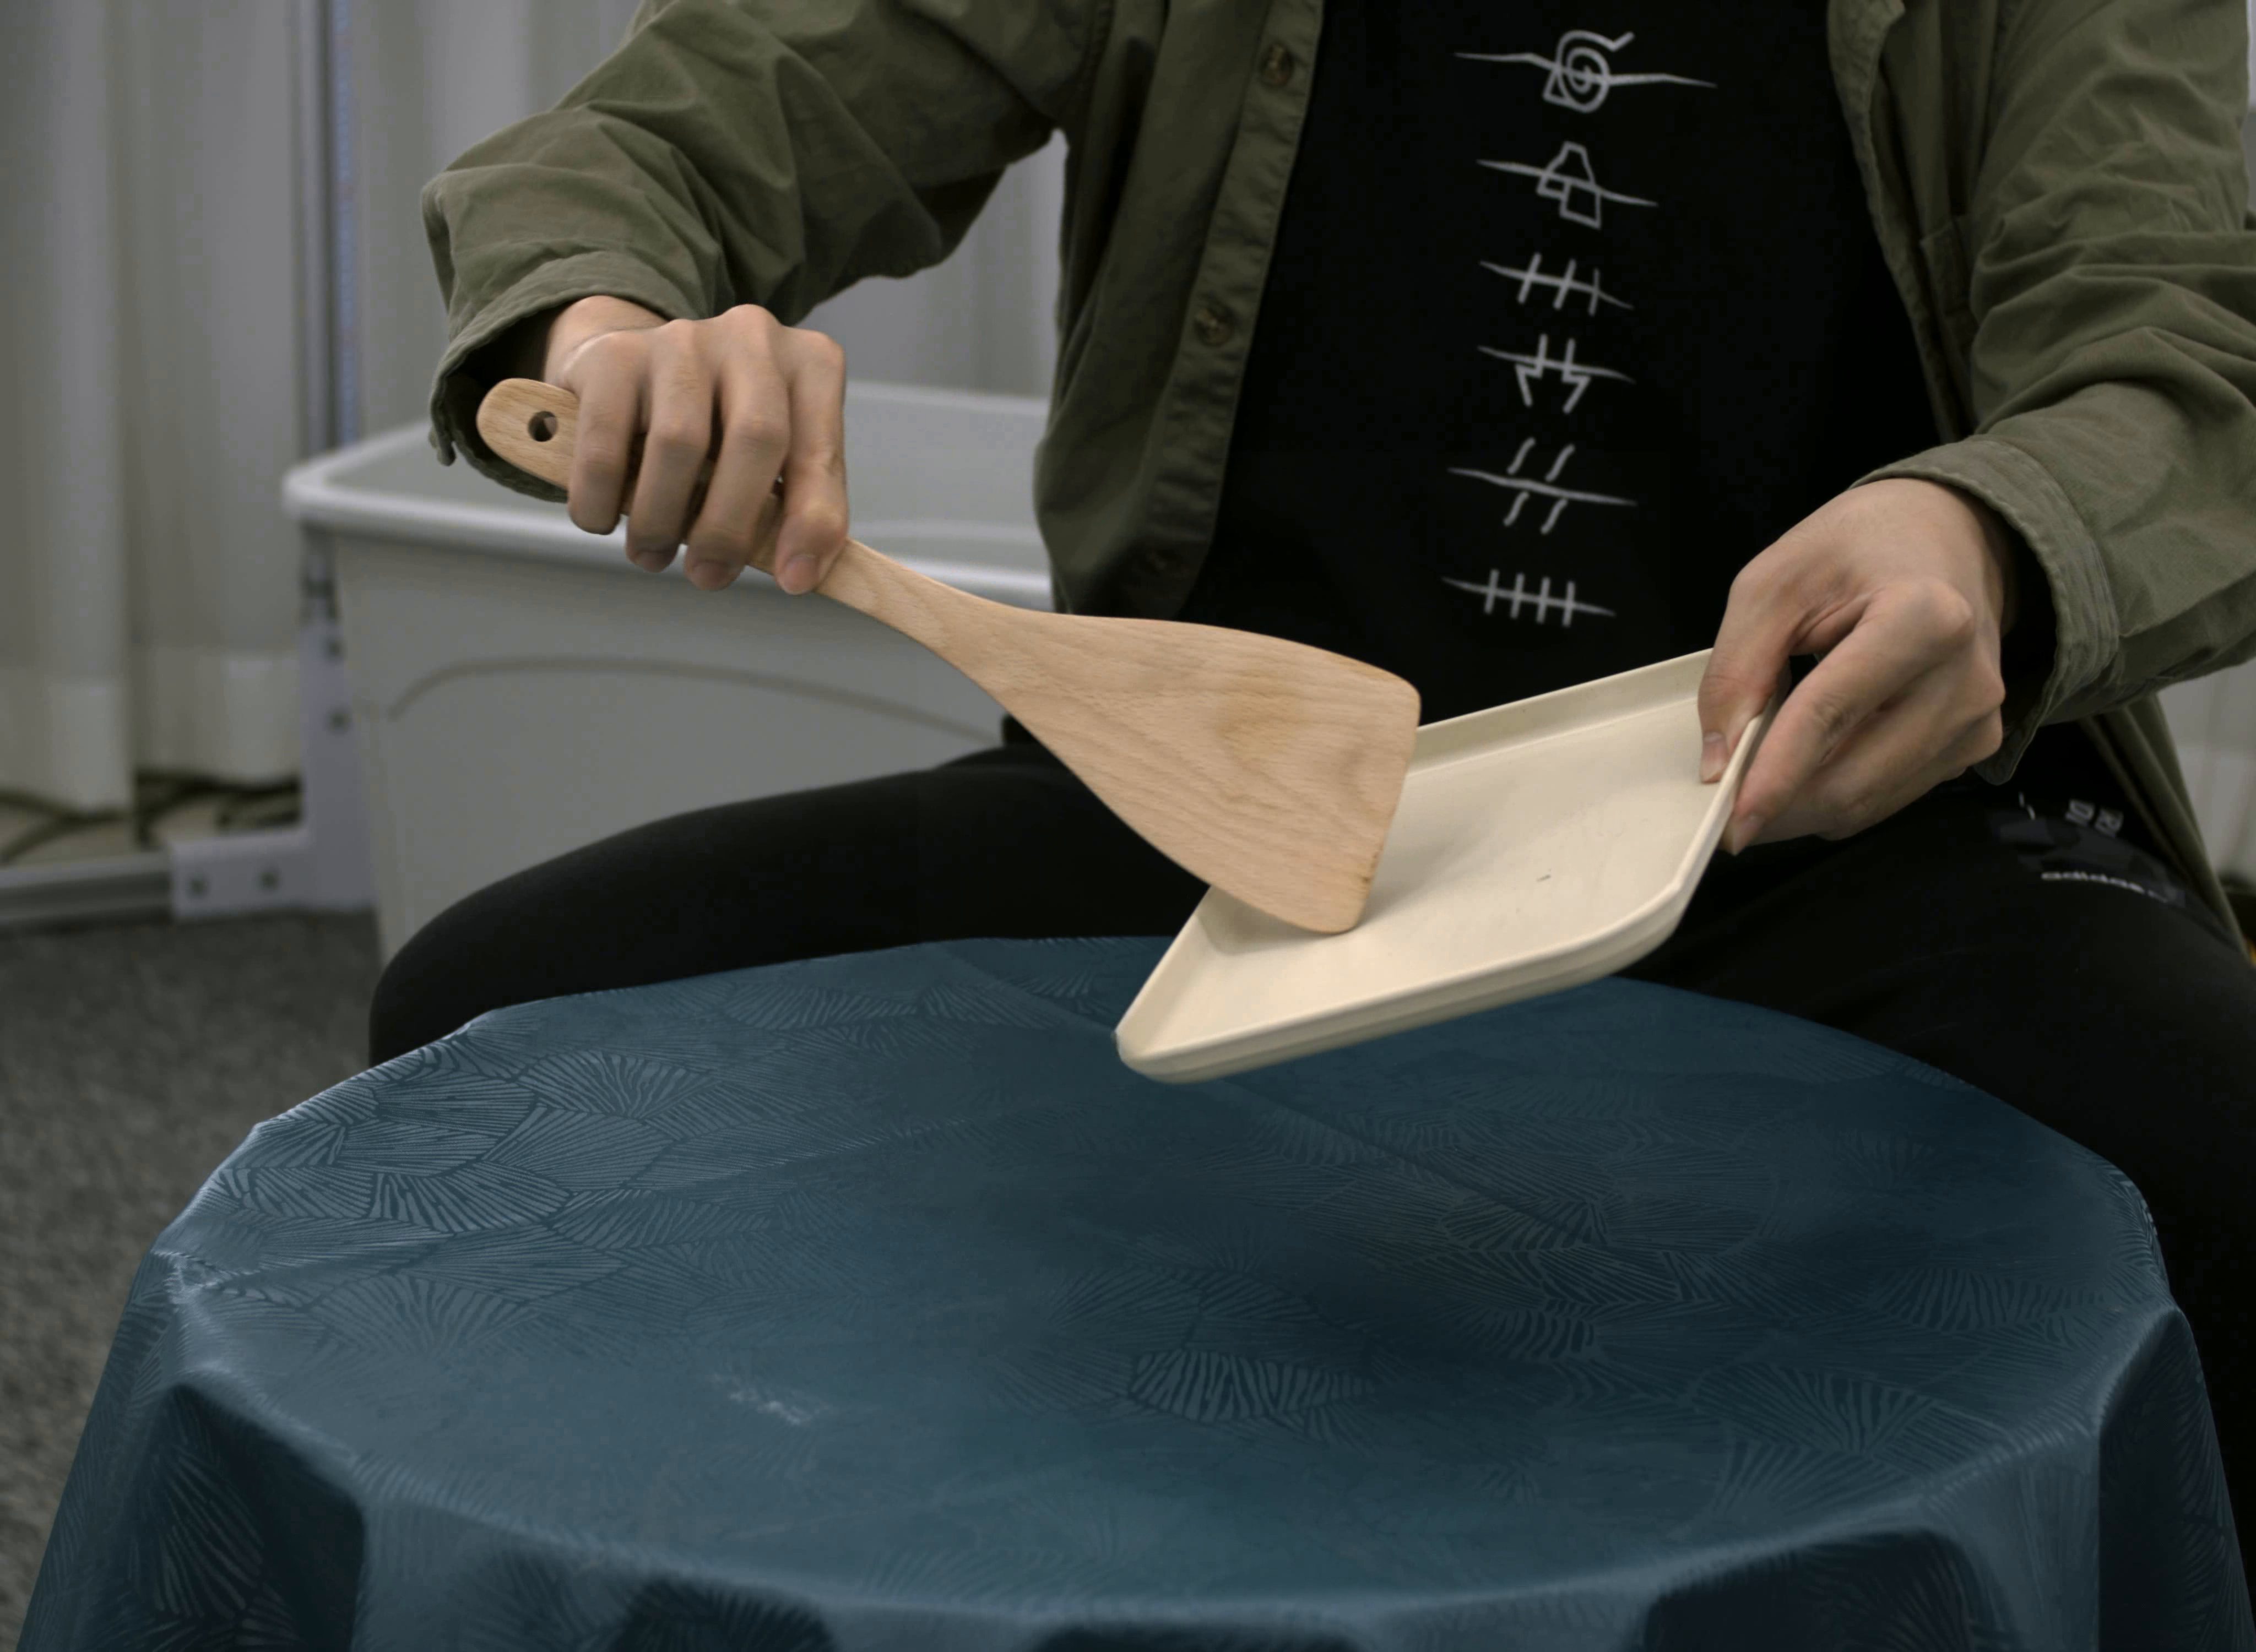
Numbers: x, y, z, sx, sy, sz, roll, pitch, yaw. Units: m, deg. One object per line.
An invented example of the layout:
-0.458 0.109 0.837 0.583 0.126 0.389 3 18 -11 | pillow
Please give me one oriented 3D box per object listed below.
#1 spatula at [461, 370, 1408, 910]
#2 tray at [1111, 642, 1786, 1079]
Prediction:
-0.063 -0.070 1.571 0.324 0.080 0.016 25 -5 17 | spatula
0.097 0.009 1.515 0.170 0.017 0.239 -15 16 21 | tray
